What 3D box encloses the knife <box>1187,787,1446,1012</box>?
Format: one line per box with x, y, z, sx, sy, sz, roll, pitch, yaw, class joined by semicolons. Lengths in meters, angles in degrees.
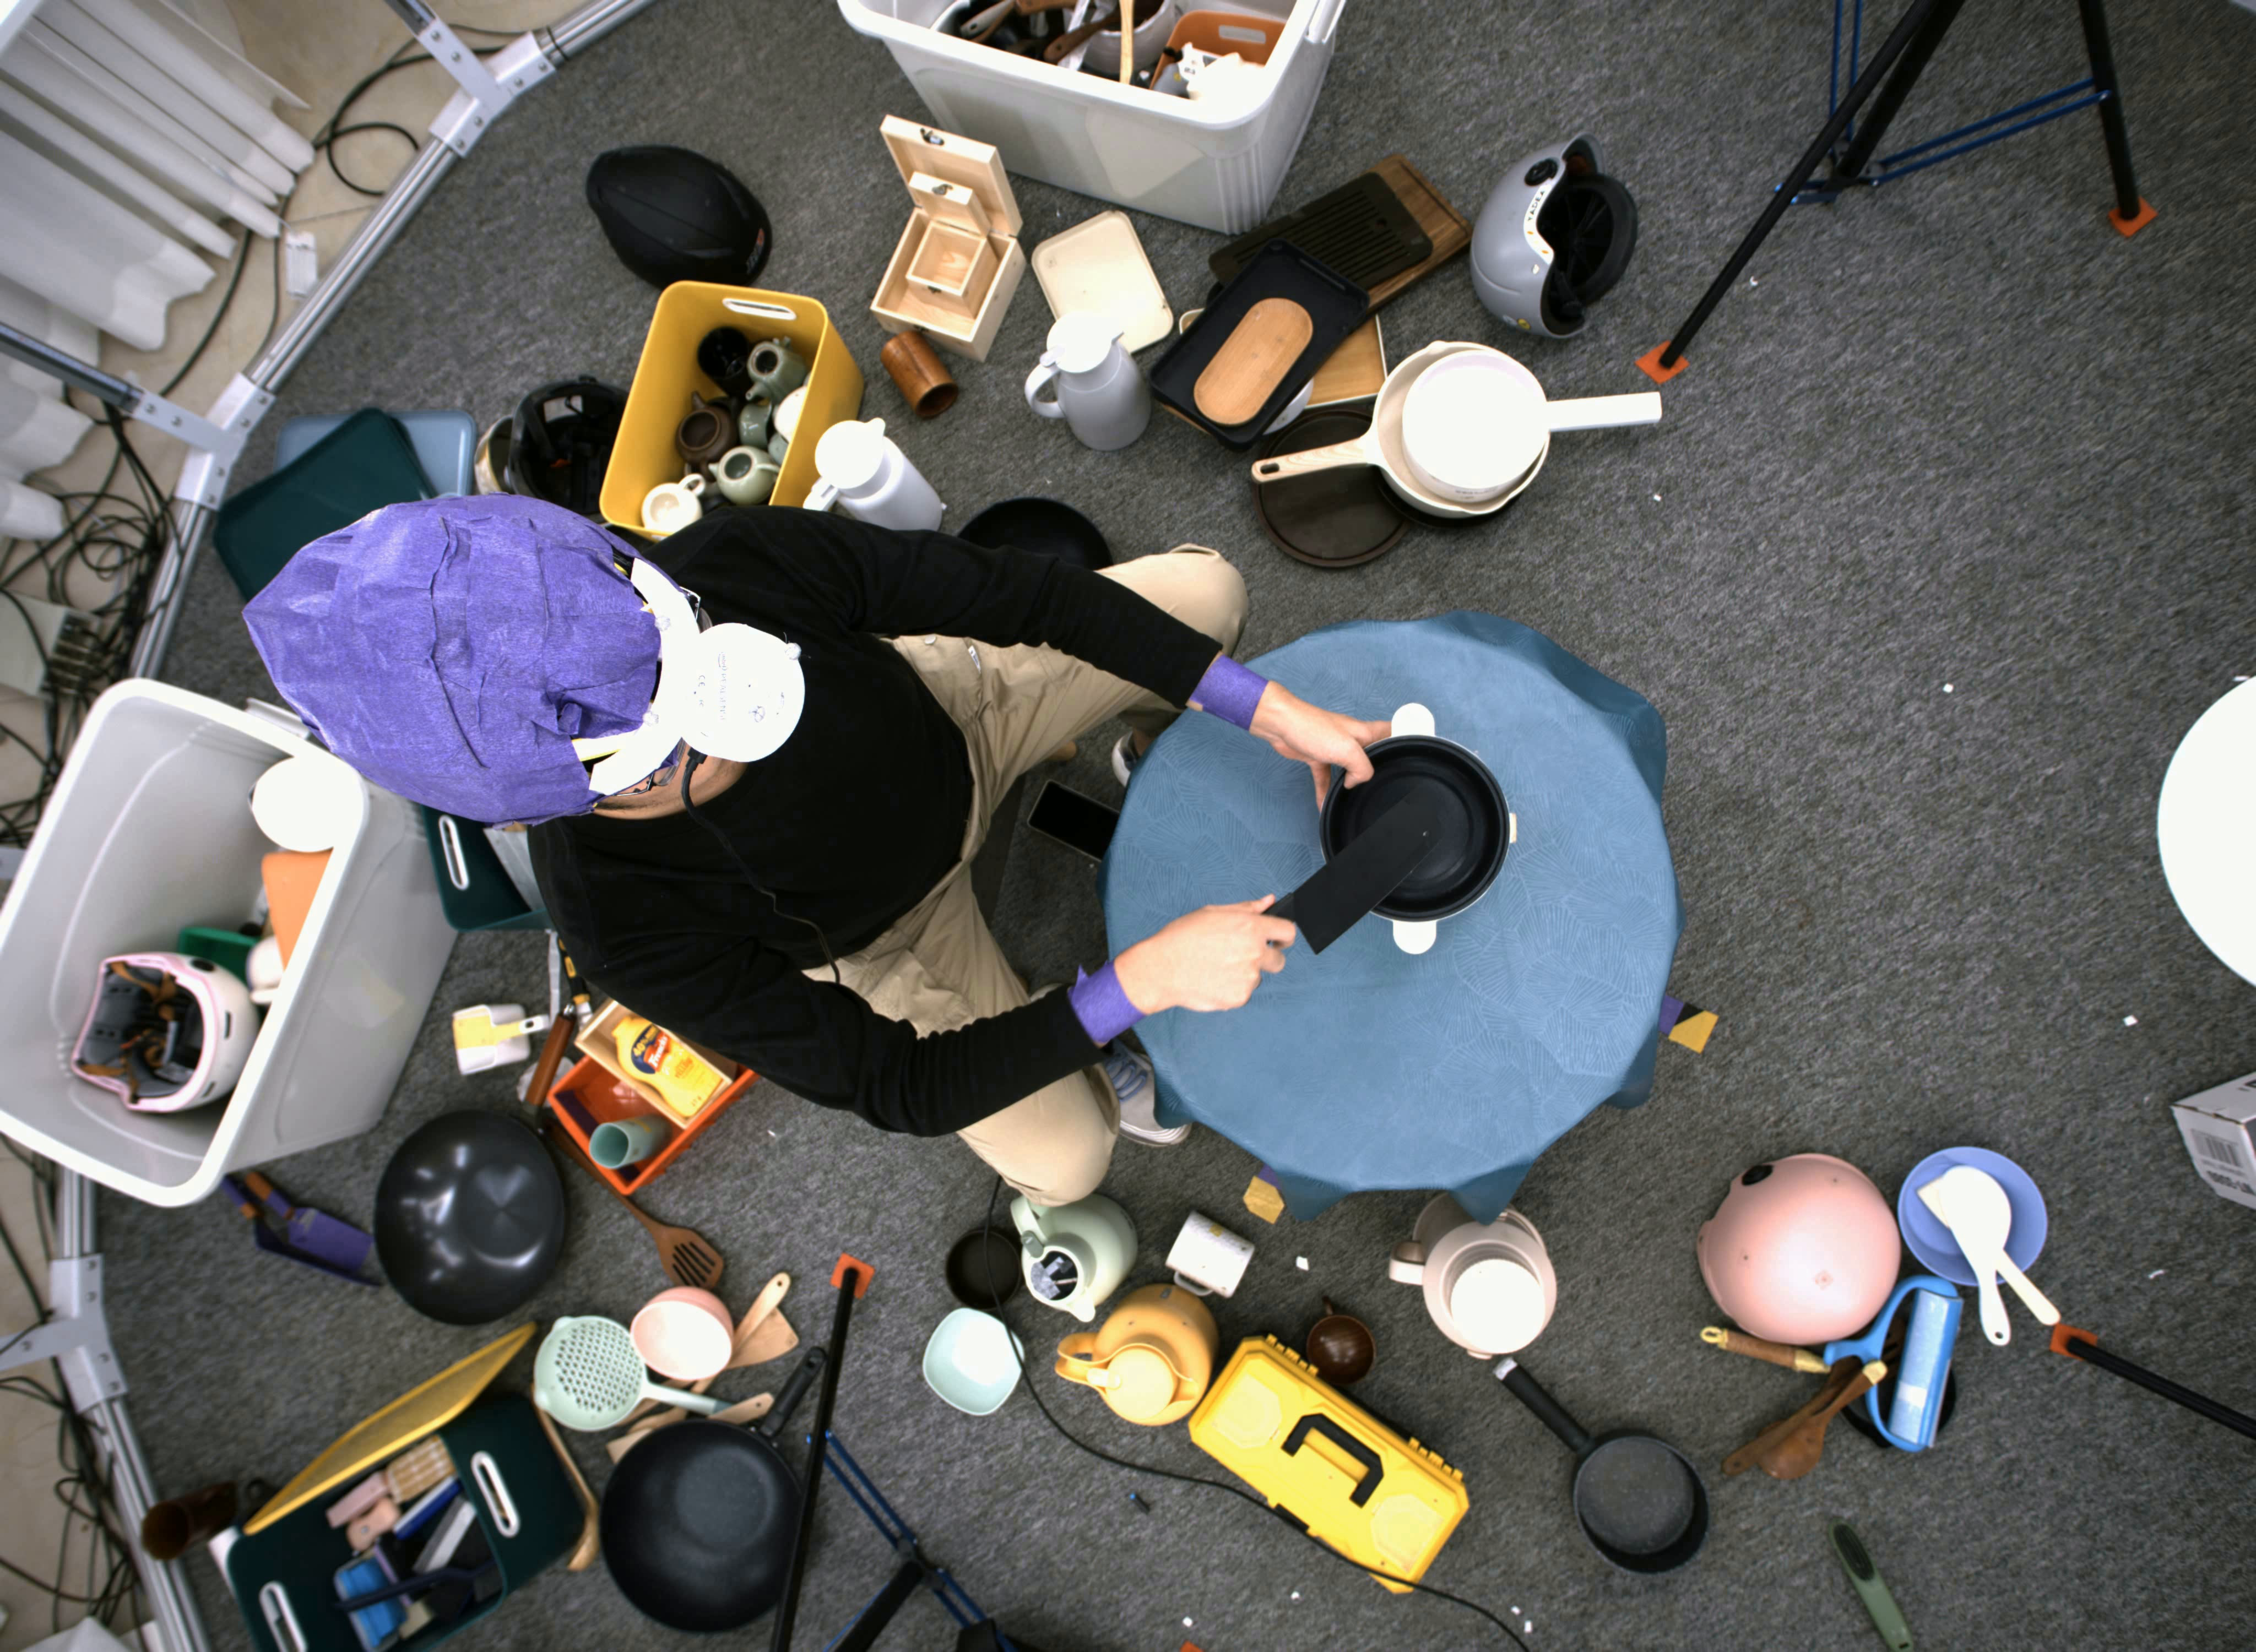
0.174;0.072;1.260;0.299;0.021;0.082;-34;112;-15;knife

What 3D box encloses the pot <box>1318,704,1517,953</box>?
0.294;0.000;1.384;0.191;0.141;0.241;-1;93;16;pot
